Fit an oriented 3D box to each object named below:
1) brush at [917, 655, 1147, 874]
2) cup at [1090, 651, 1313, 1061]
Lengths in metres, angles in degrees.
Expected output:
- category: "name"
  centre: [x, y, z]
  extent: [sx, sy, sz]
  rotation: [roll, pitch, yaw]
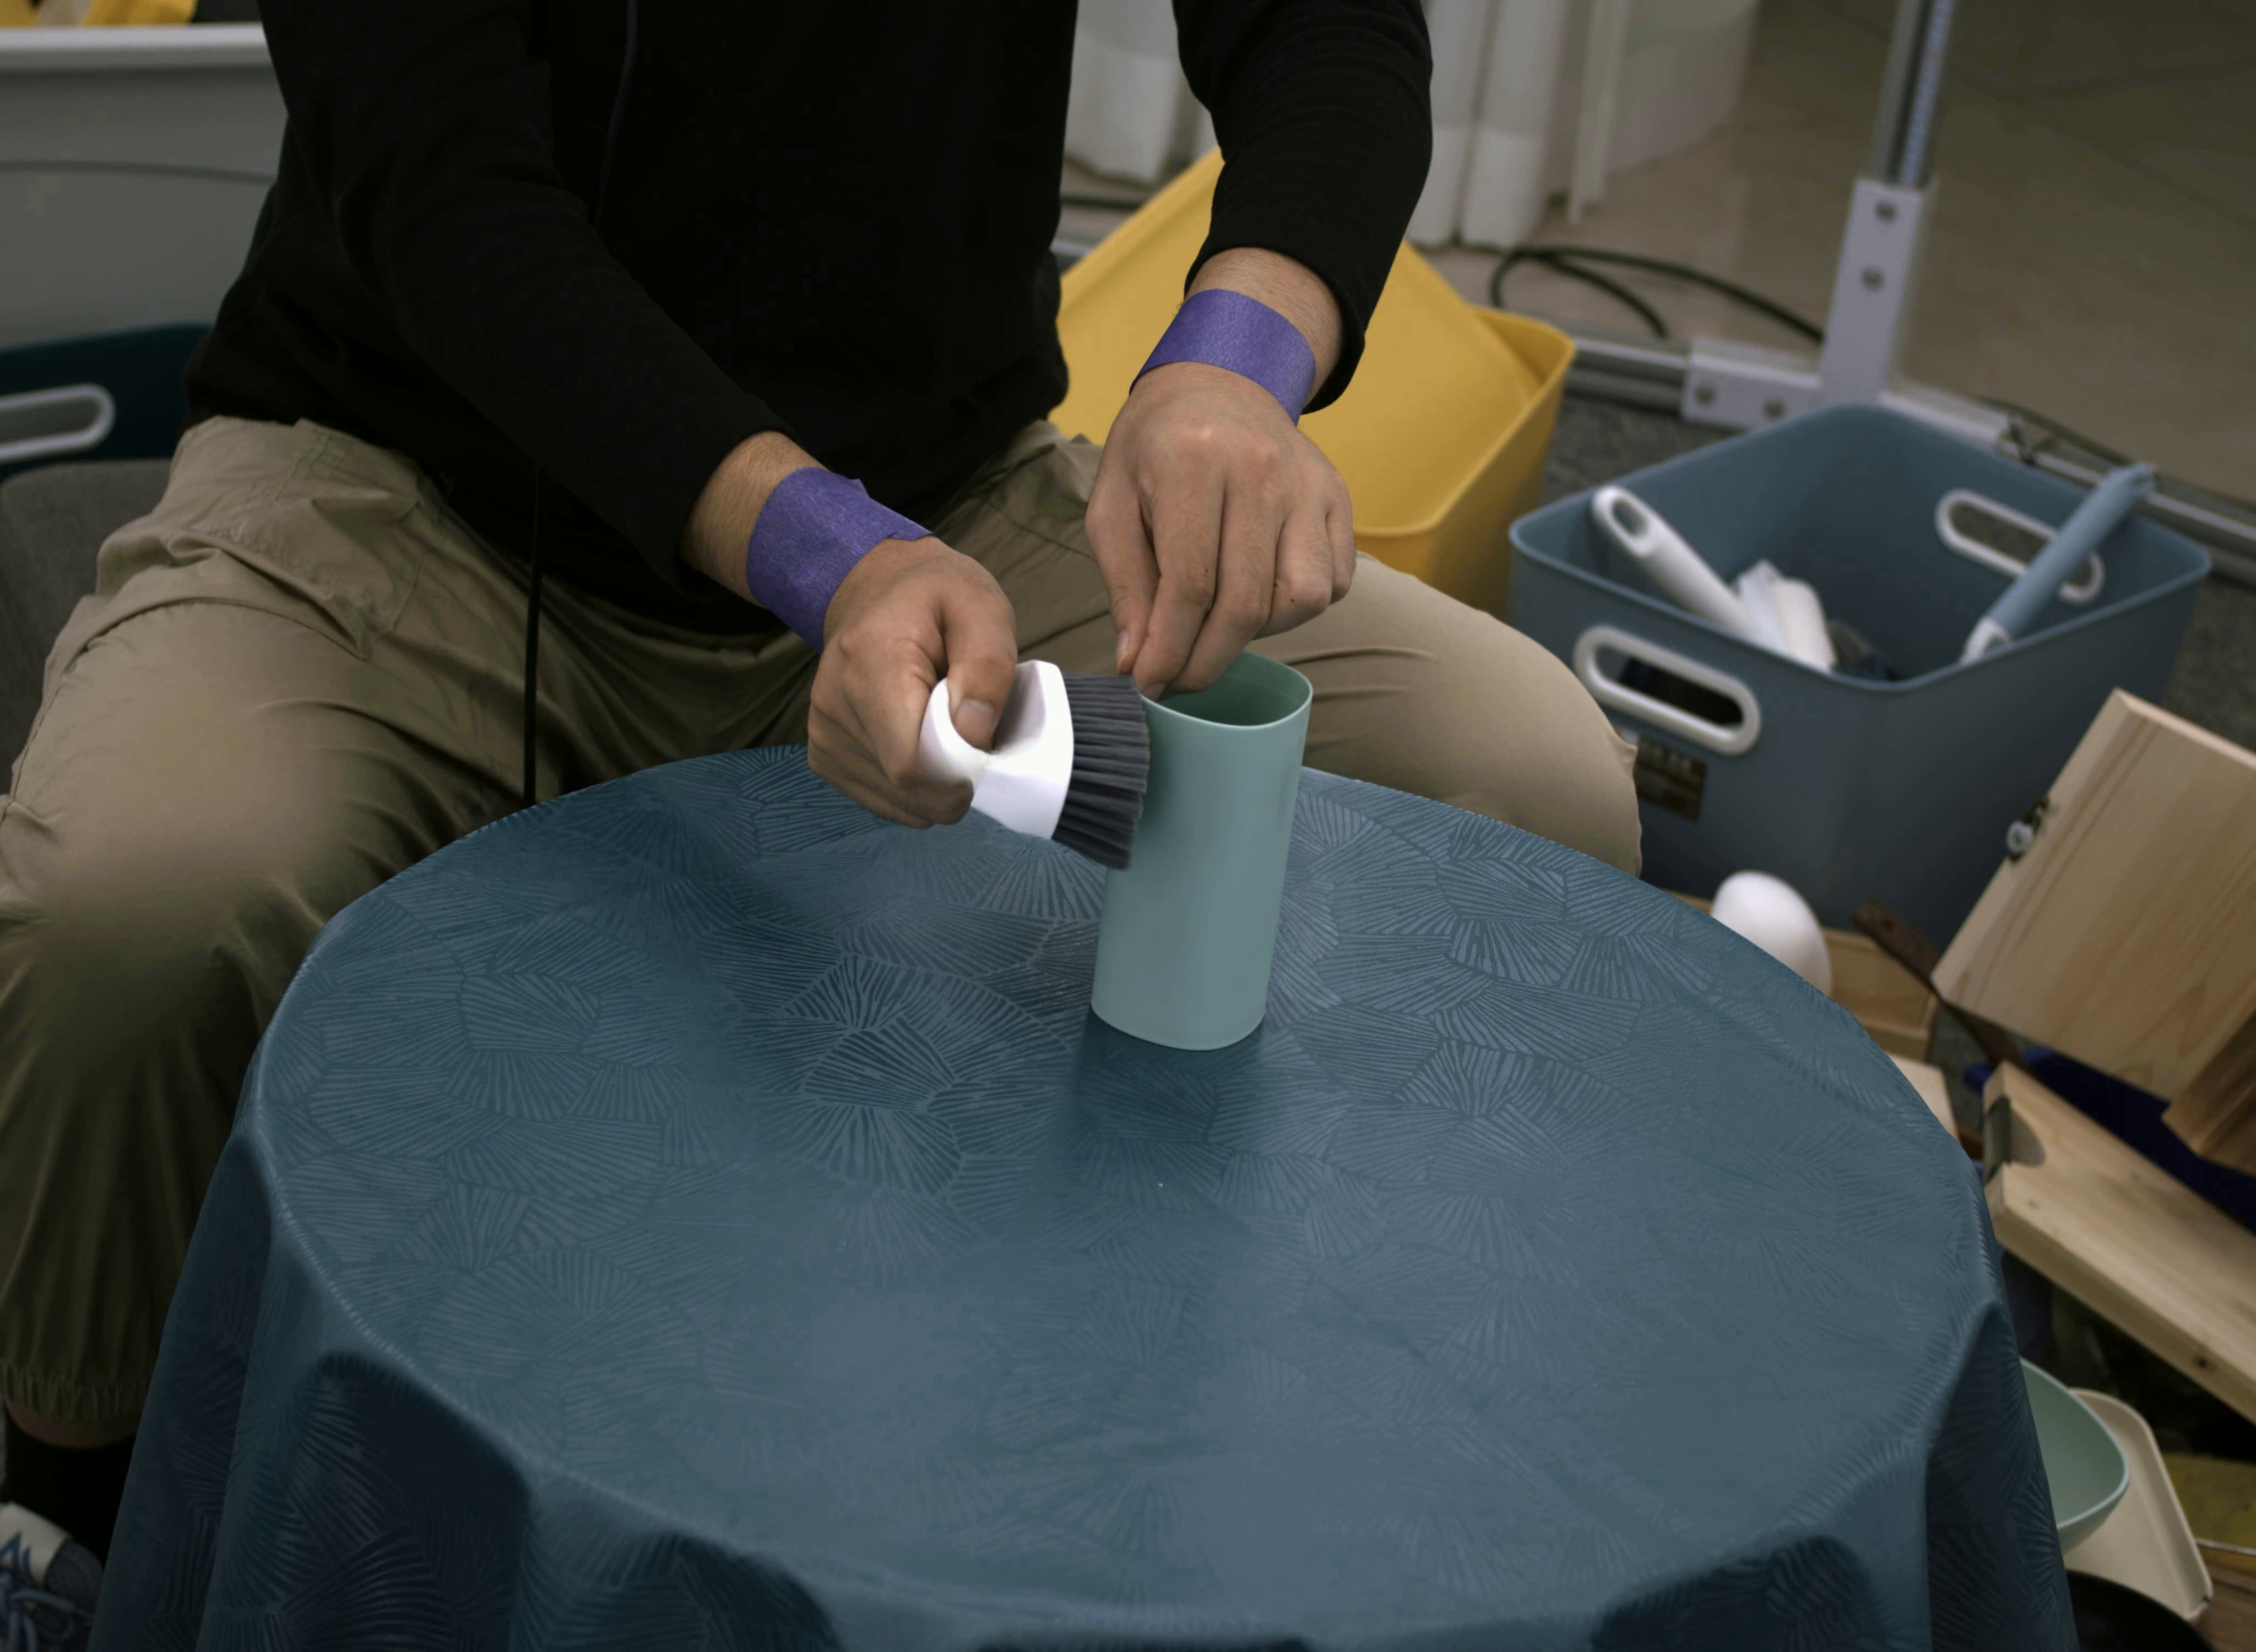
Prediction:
- category: "brush"
  centre: [-0.037, -0.026, 1.833]
  extent: [0.072, 0.050, 0.100]
  rotation: [12, 25, -12]
- category: "cup"
  centre: [0.024, 0.011, 1.892]
  extent: [0.066, 0.132, 0.067]
  rotation: [6, 27, -3]
